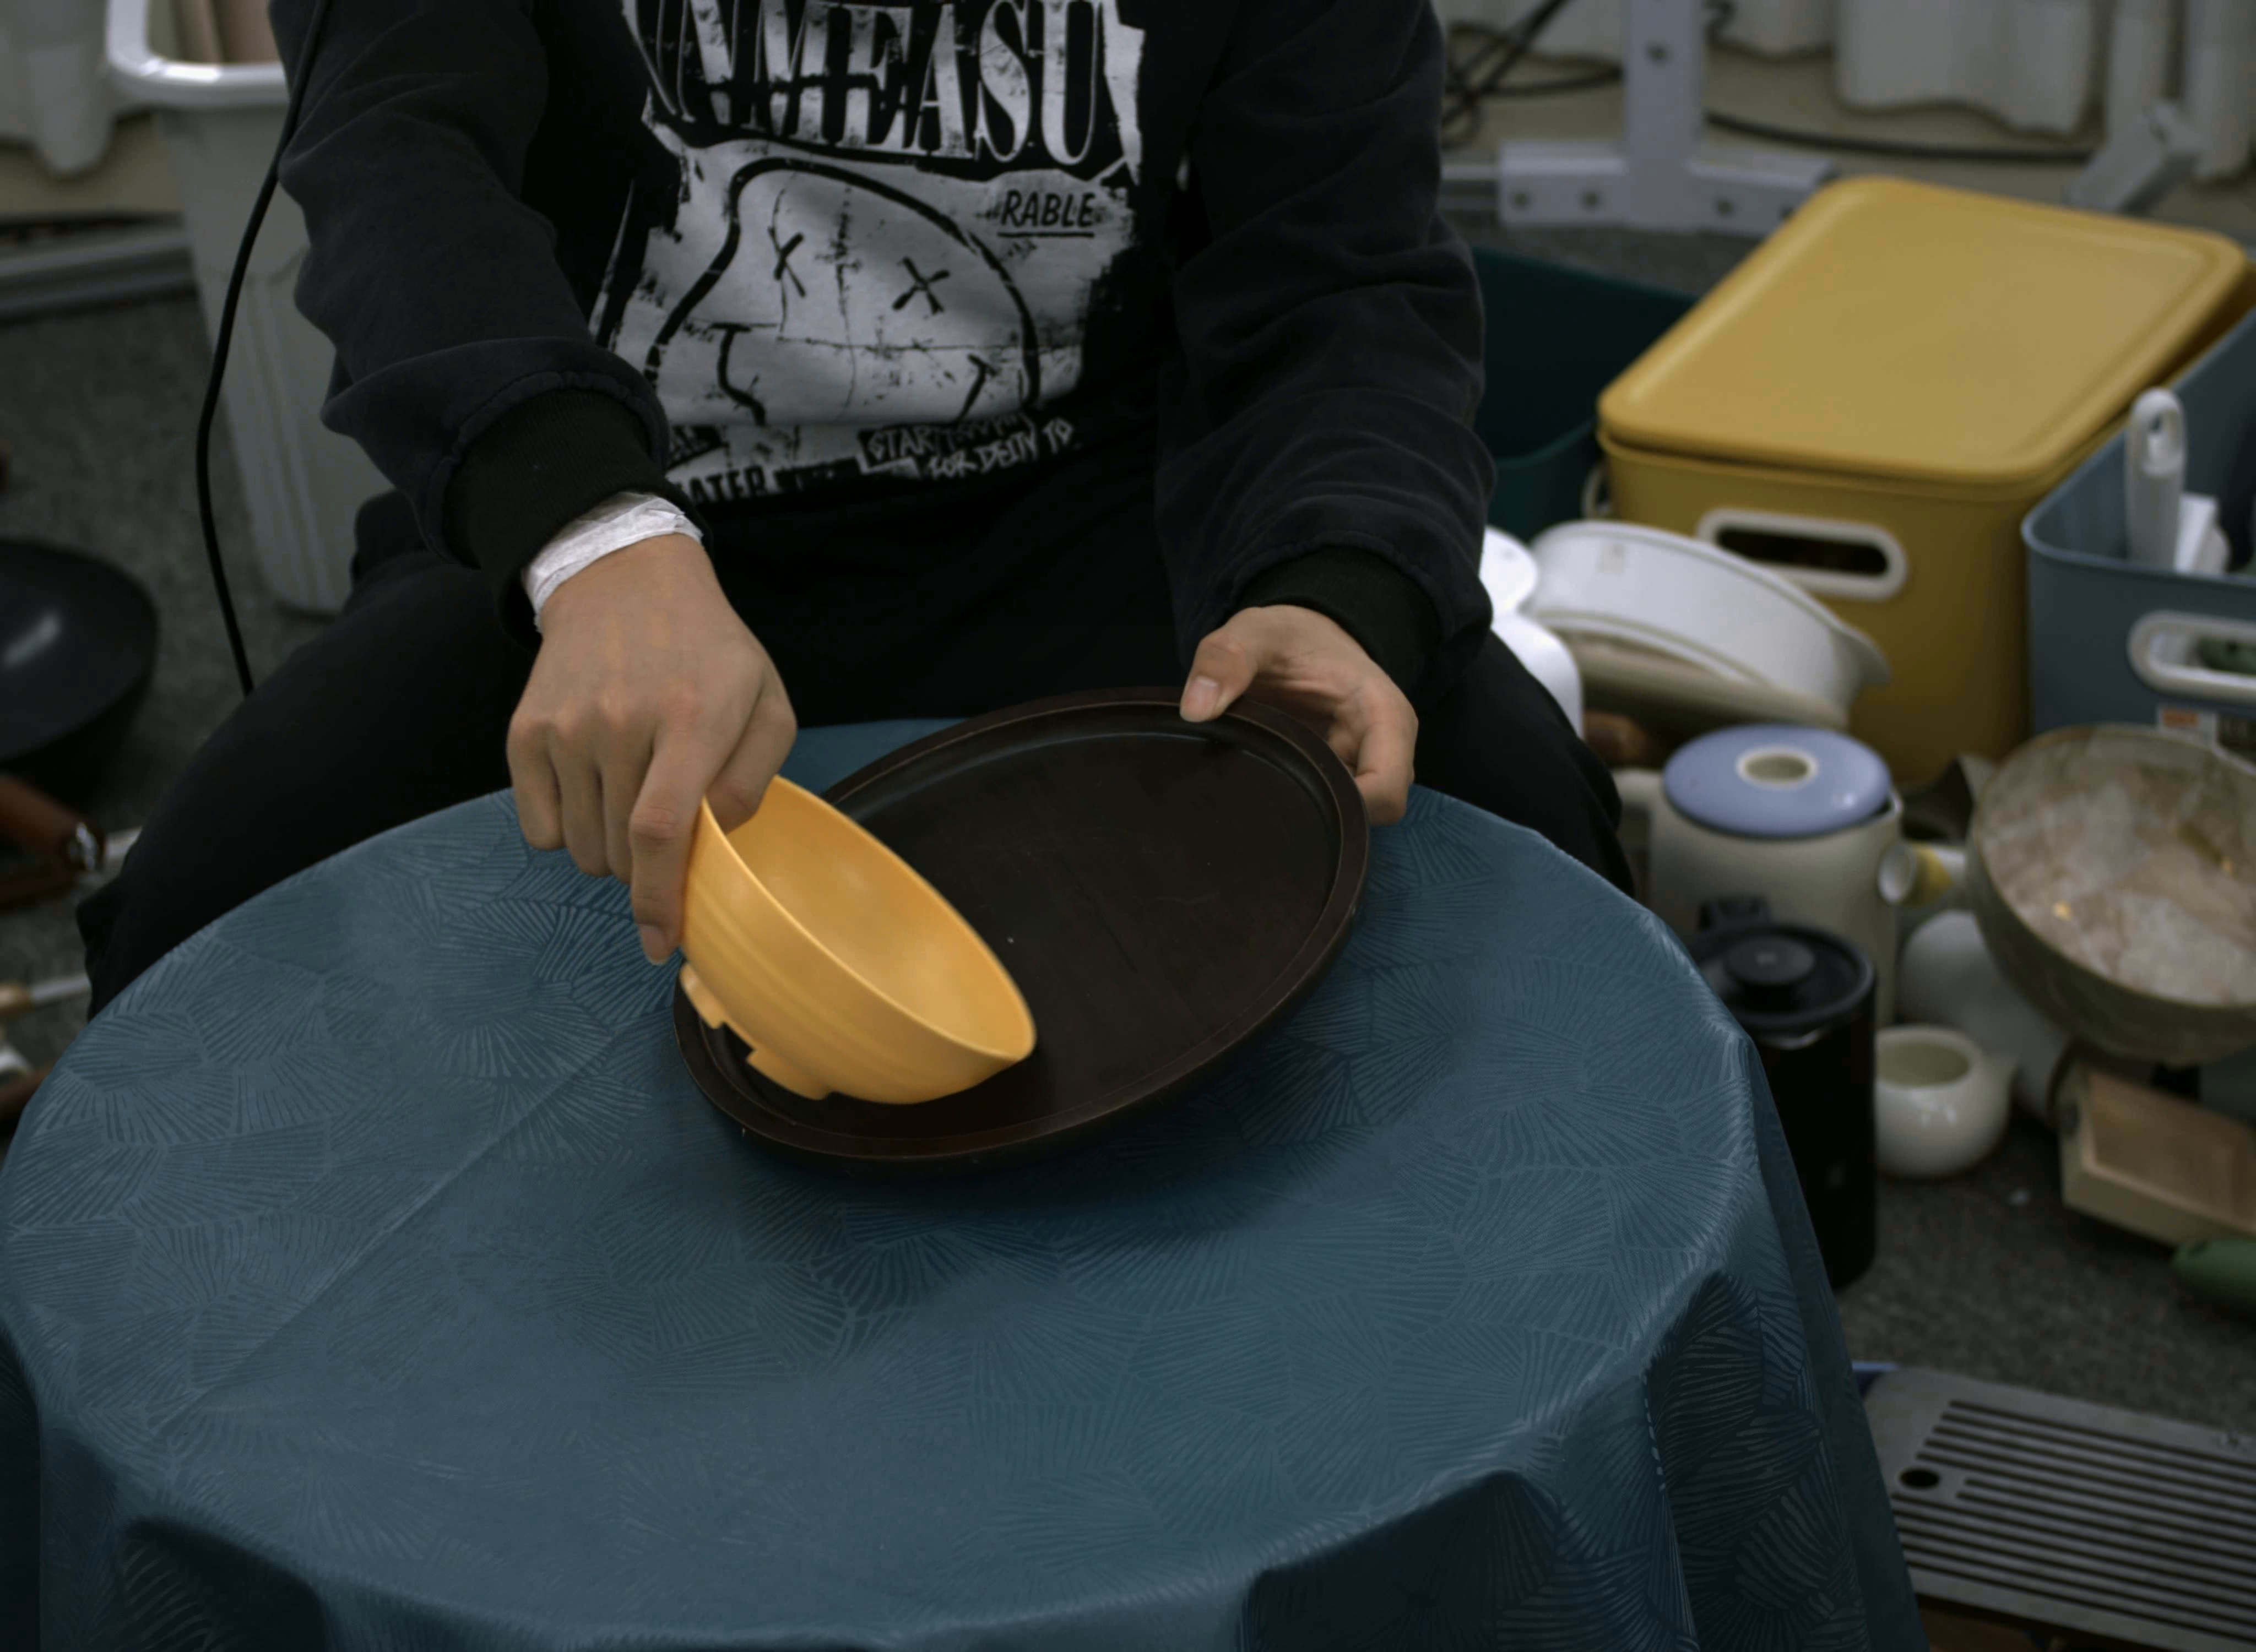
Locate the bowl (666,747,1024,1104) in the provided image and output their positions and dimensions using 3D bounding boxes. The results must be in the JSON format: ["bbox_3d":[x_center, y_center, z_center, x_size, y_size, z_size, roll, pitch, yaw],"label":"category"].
[{"bbox_3d":[-0.105,0.046,1.859,0.059,0.144,0.147,-46,26,13],"label":"bowl"}]

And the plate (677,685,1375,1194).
[{"bbox_3d":[-0.034,0.038,1.938,0.253,0.029,0.259,-15,34,11],"label":"plate"}]
